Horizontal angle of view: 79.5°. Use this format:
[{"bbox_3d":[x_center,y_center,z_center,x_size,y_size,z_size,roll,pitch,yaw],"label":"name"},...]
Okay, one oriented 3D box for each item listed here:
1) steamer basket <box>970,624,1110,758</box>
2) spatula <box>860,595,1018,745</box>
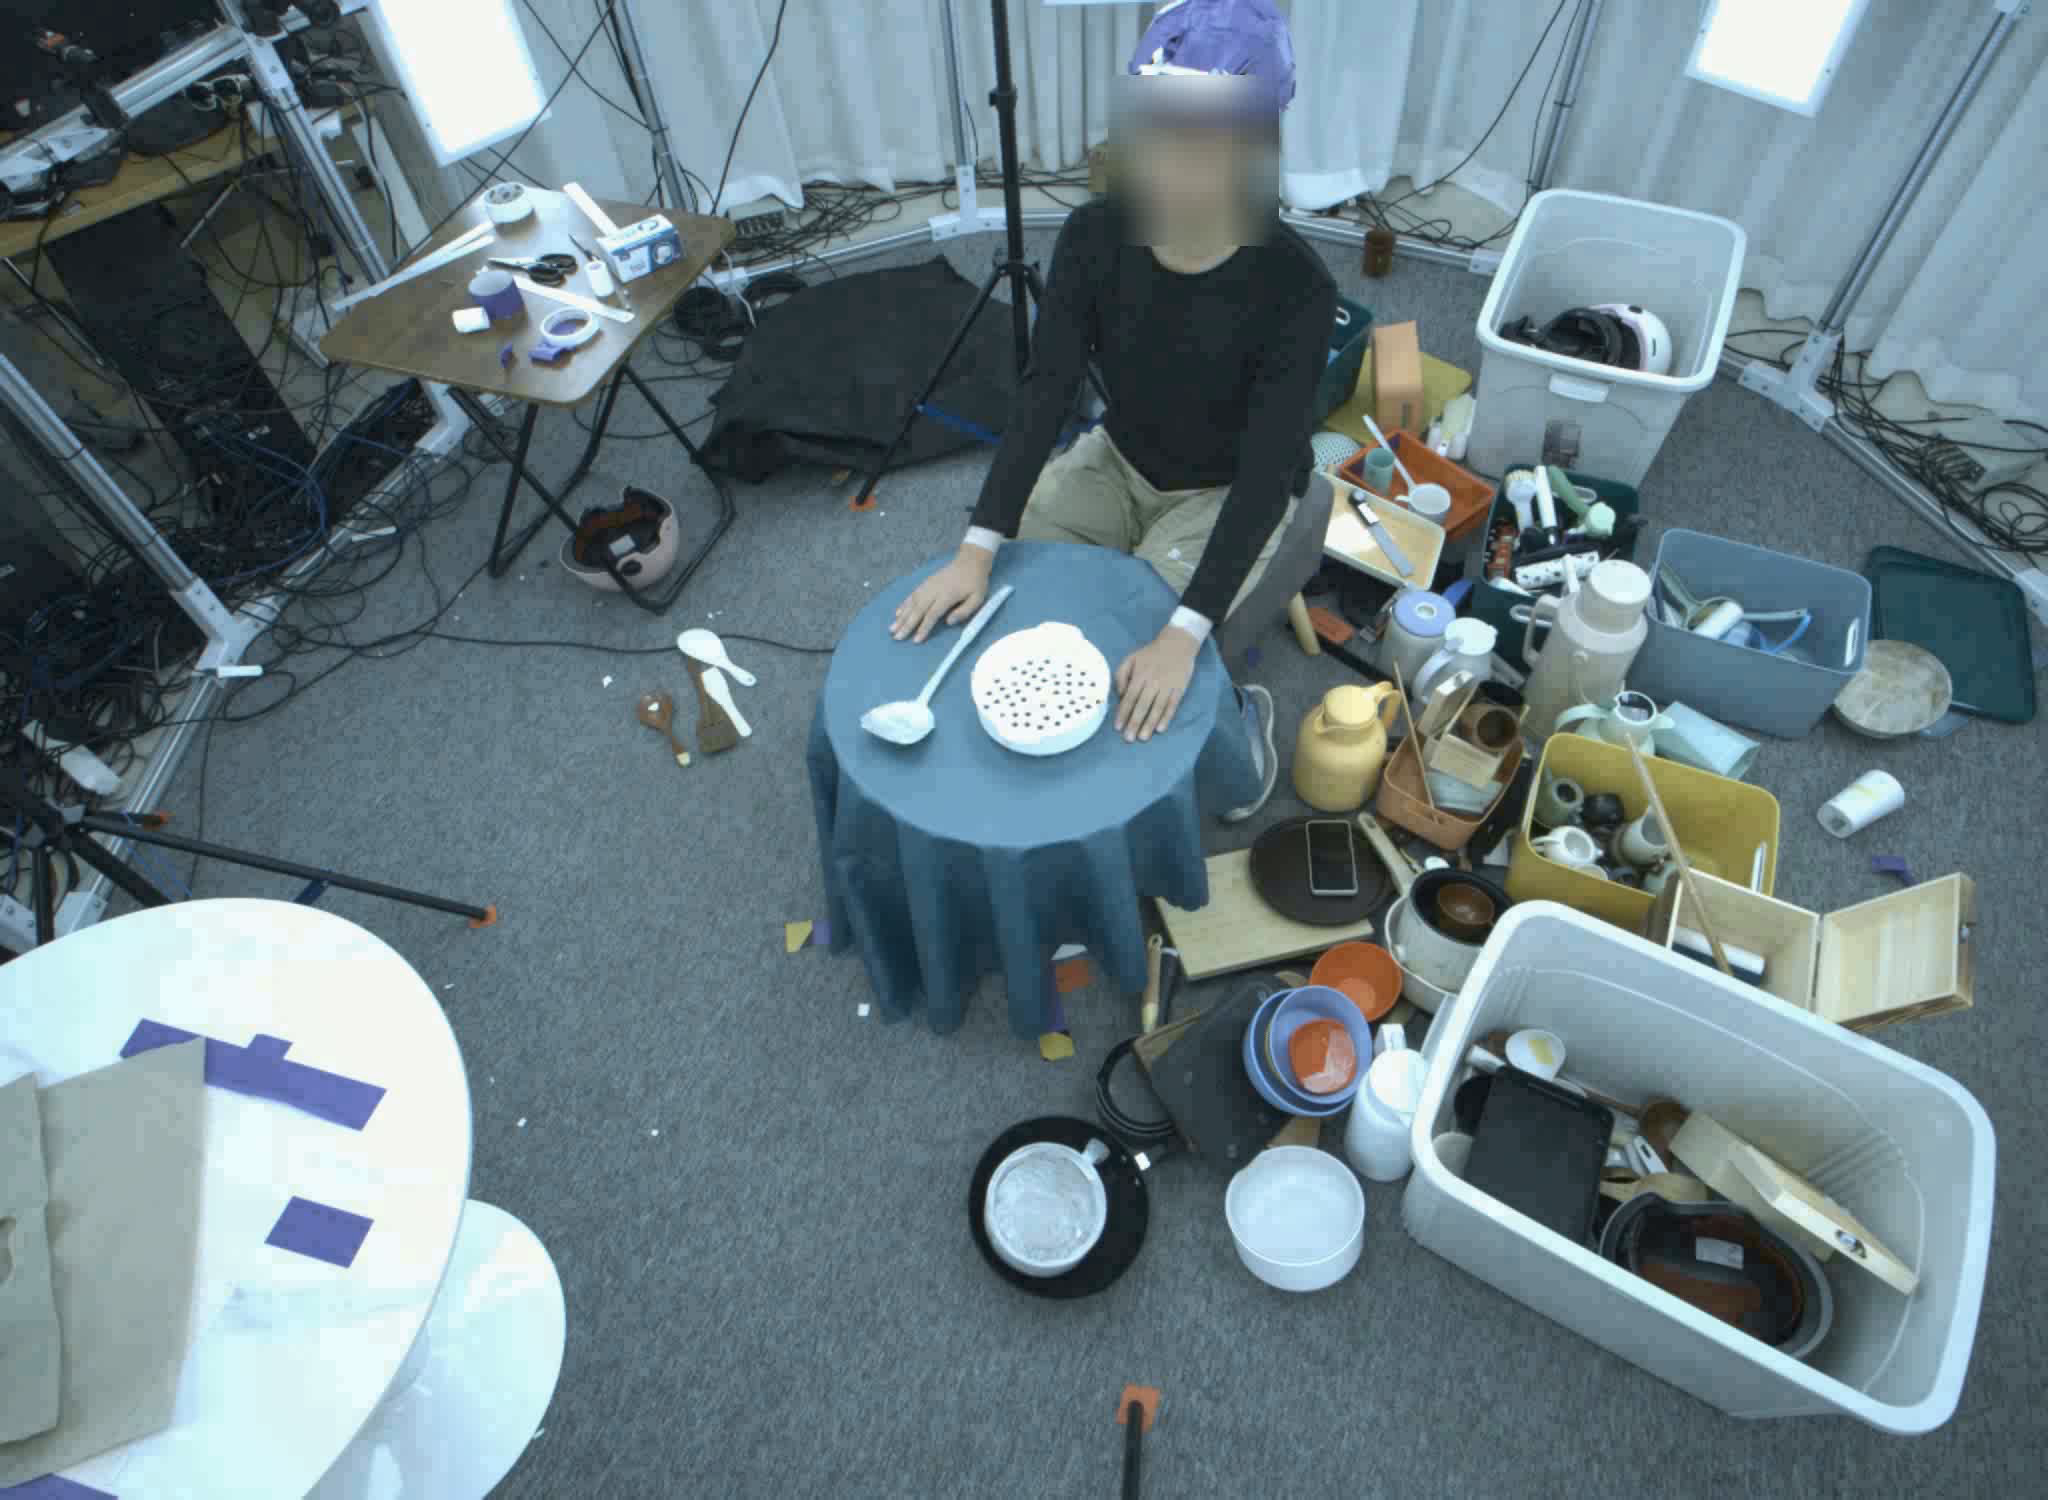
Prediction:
[{"bbox_3d":[0.024,-0.081,1.801,0.200,0.070,0.230,14,56,11],"label":"steamer basket"},{"bbox_3d":[-0.113,-0.135,1.864,0.097,0.045,0.366,23,59,20],"label":"spatula"}]
